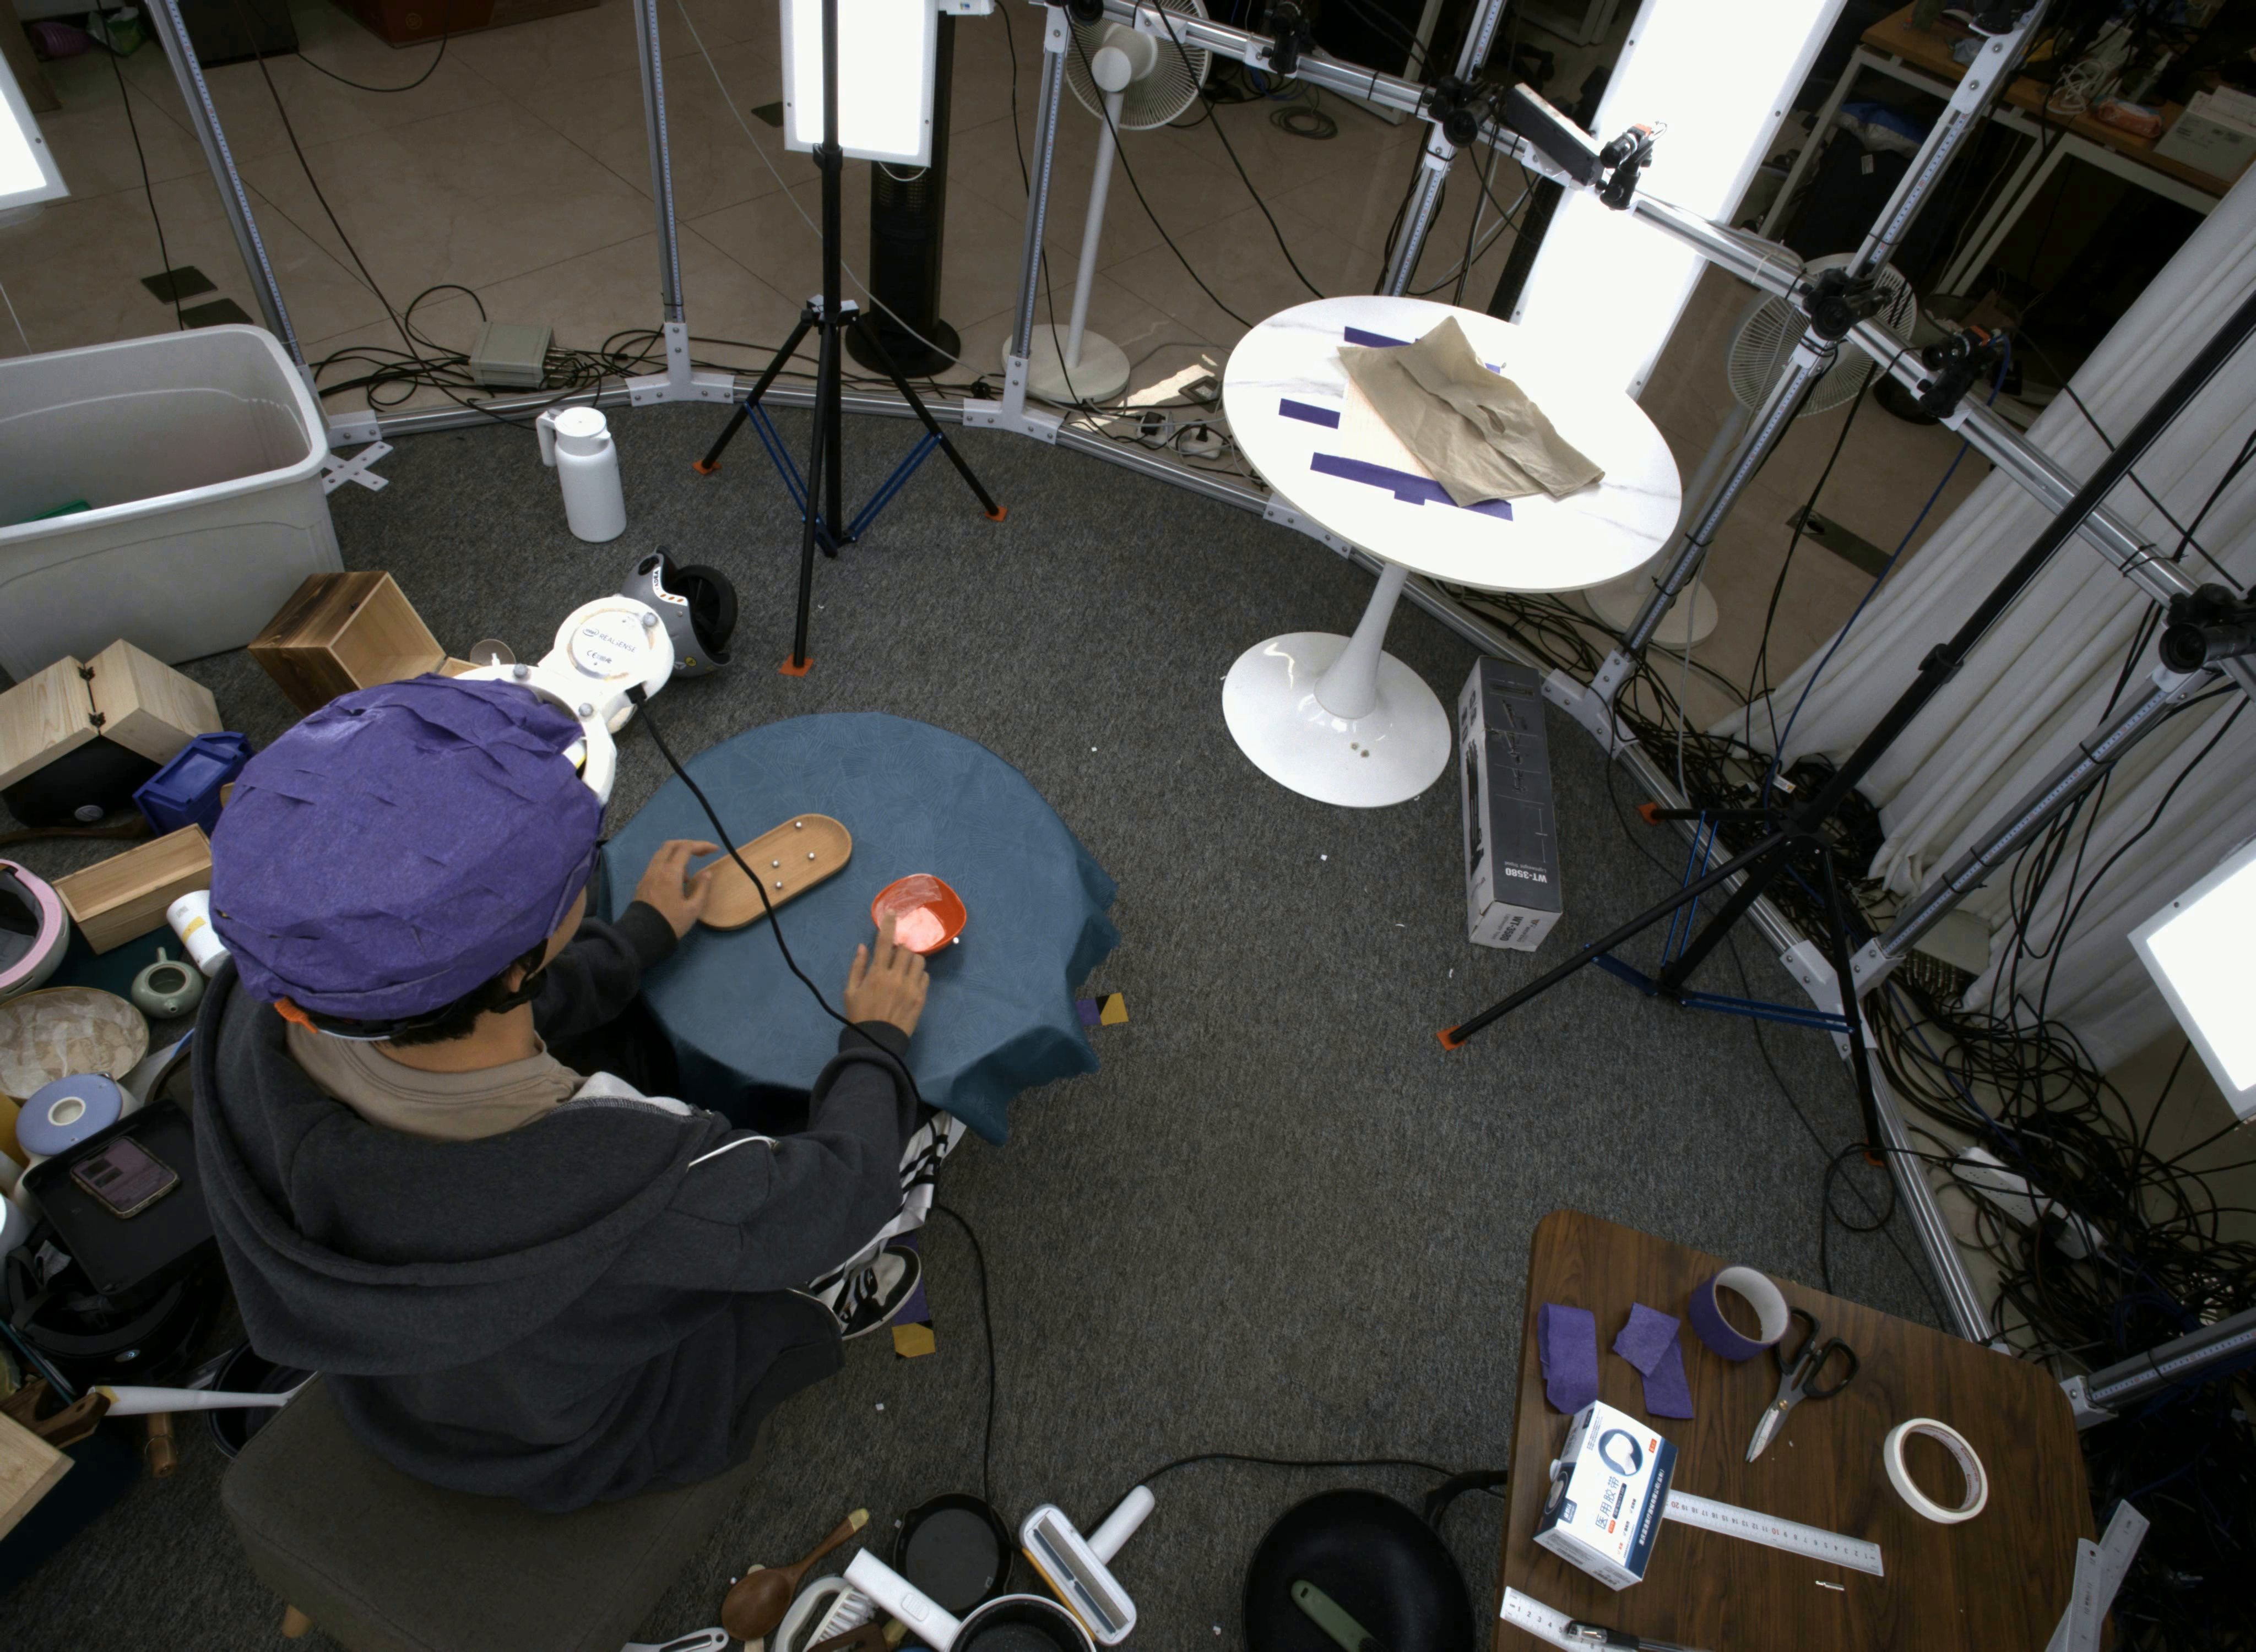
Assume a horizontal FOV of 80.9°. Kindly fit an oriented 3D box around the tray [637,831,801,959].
[{"bbox_3d":[-0.515,0.084,1.632,0.099,0.021,0.231,39,55,17],"label":"tray"}]

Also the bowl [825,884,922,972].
[{"bbox_3d":[-0.317,0.134,1.621,0.119,0.052,0.117,9,52,-9],"label":"bowl"}]
